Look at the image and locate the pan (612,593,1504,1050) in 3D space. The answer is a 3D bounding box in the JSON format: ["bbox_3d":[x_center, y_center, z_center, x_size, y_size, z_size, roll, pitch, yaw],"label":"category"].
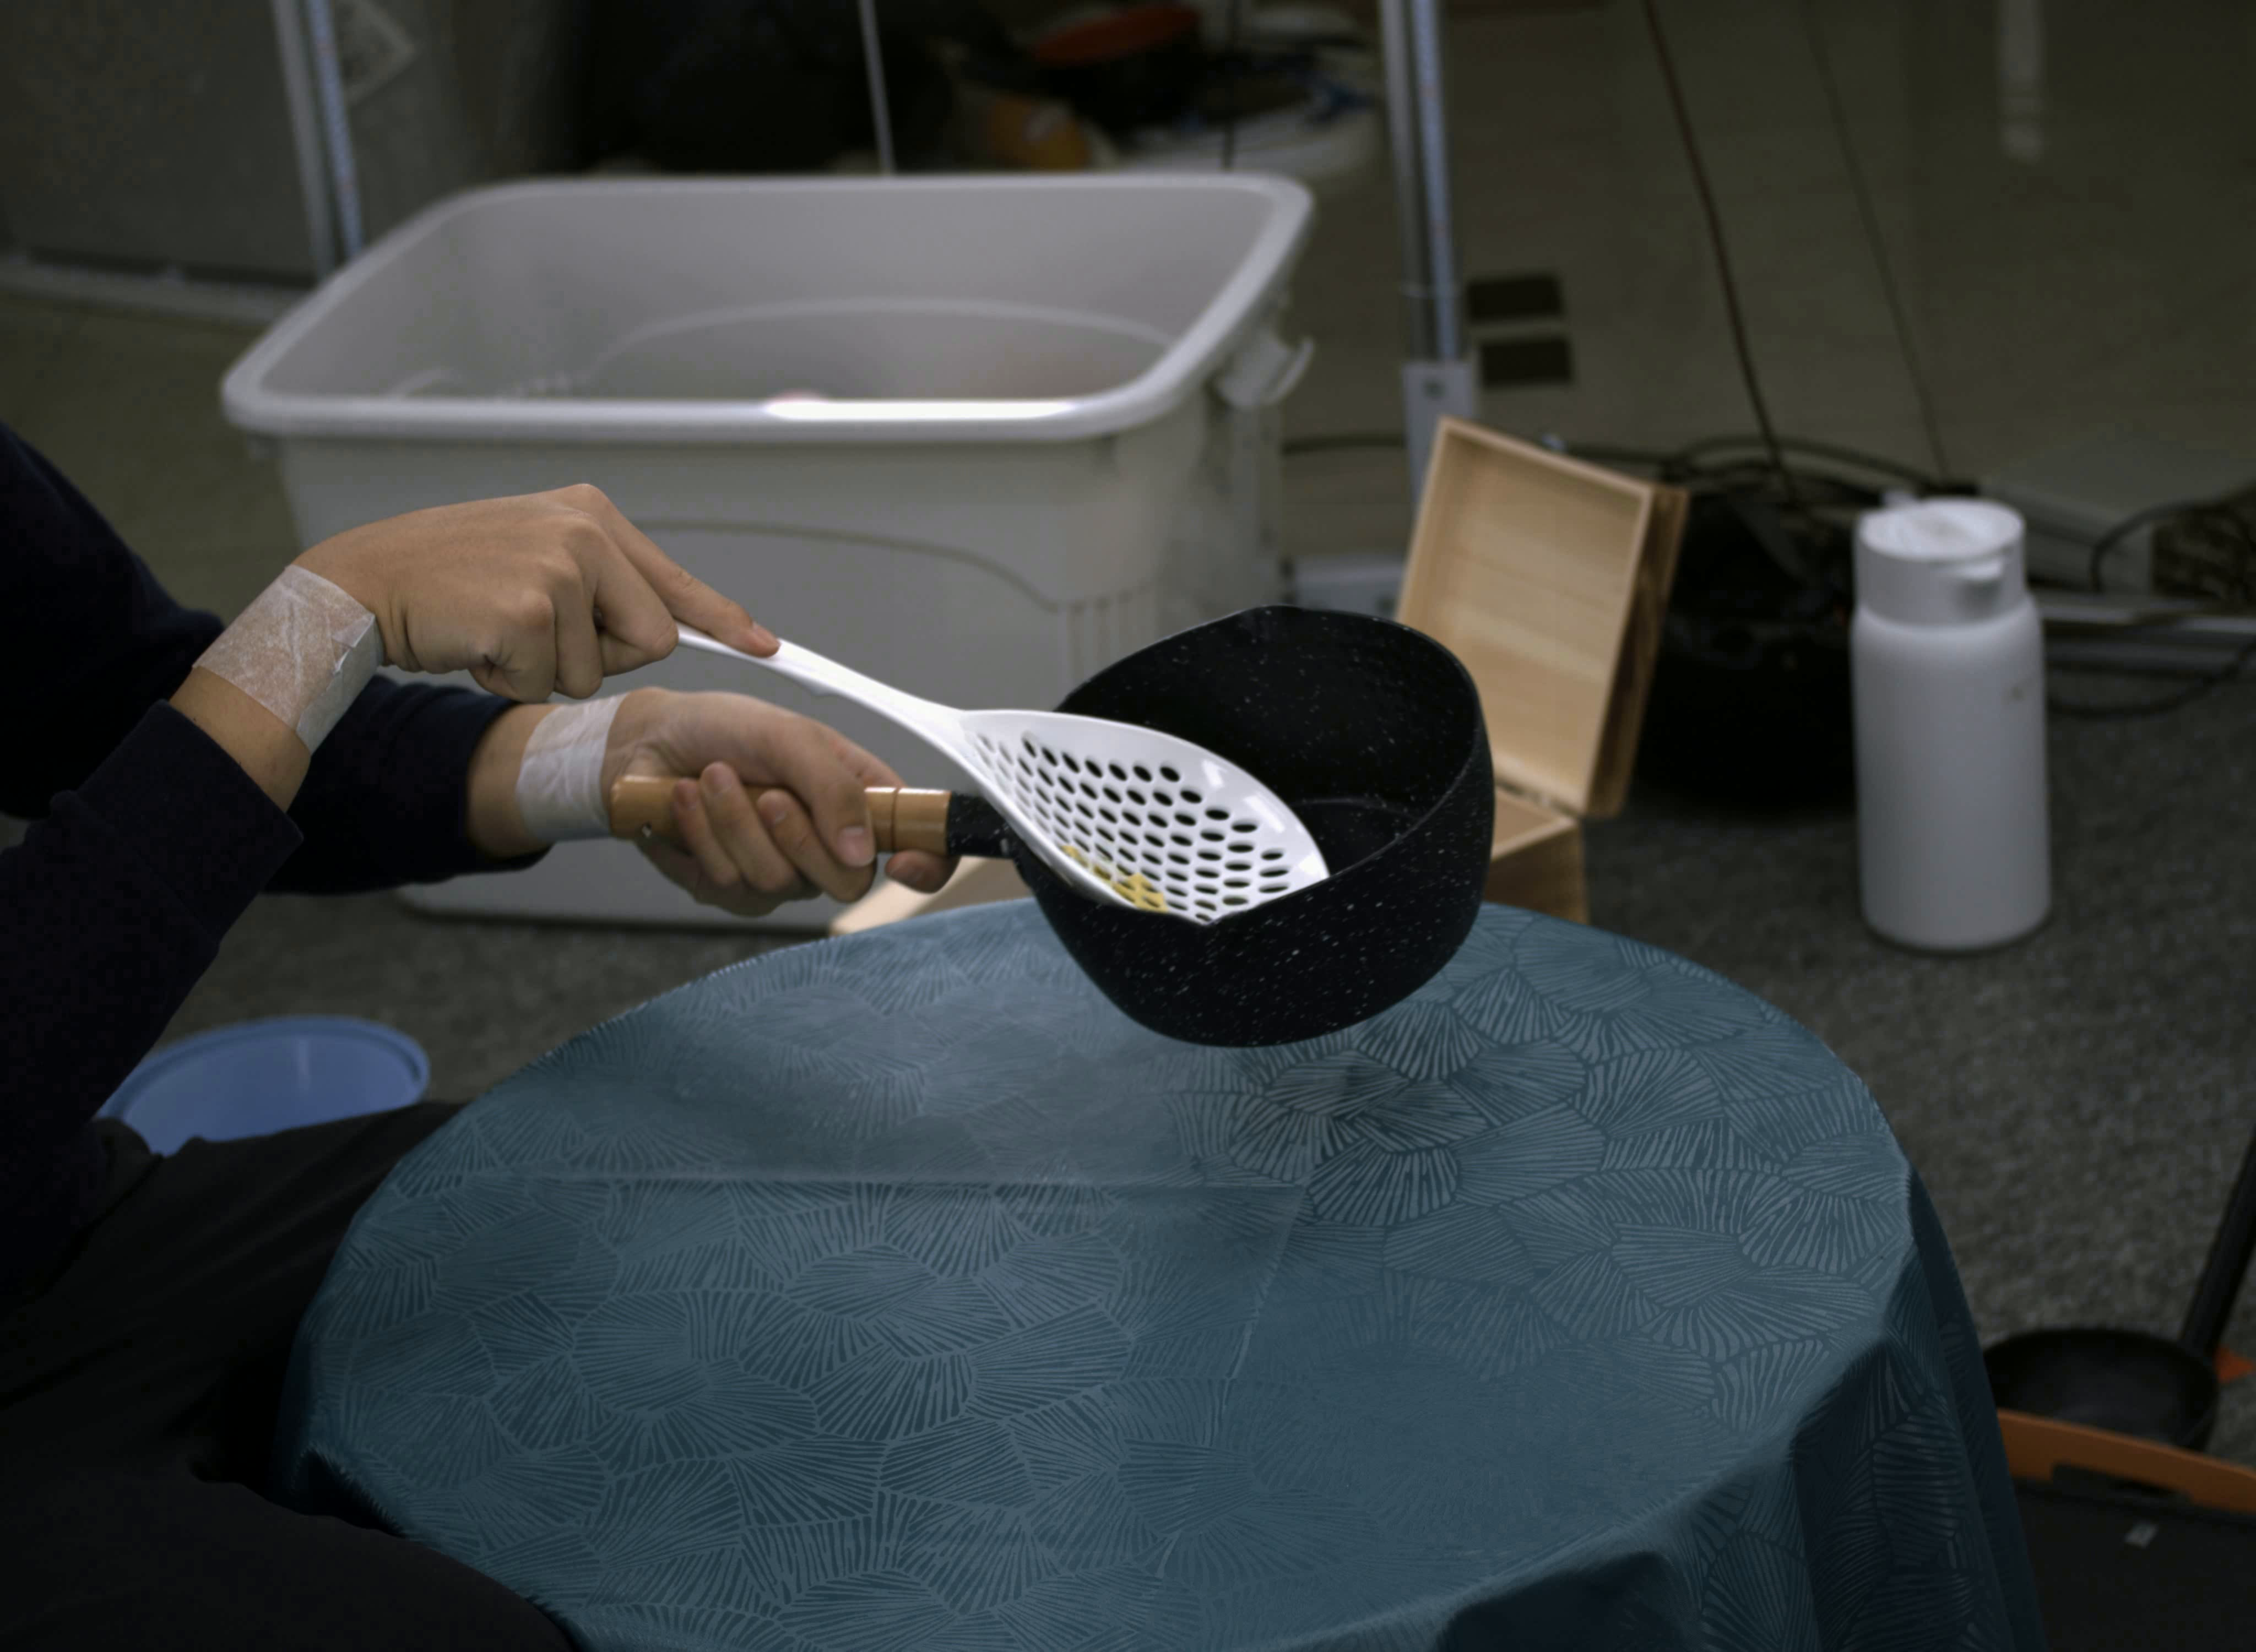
[{"bbox_3d":[-0.025,0.006,2.163,0.342,0.110,0.204,-6,38,11],"label":"pan"}]

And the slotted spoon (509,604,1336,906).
[{"bbox_3d":[-0.069,-0.028,2.107,0.350,0.051,0.134,26,31,-26],"label":"slotted spoon"}]
